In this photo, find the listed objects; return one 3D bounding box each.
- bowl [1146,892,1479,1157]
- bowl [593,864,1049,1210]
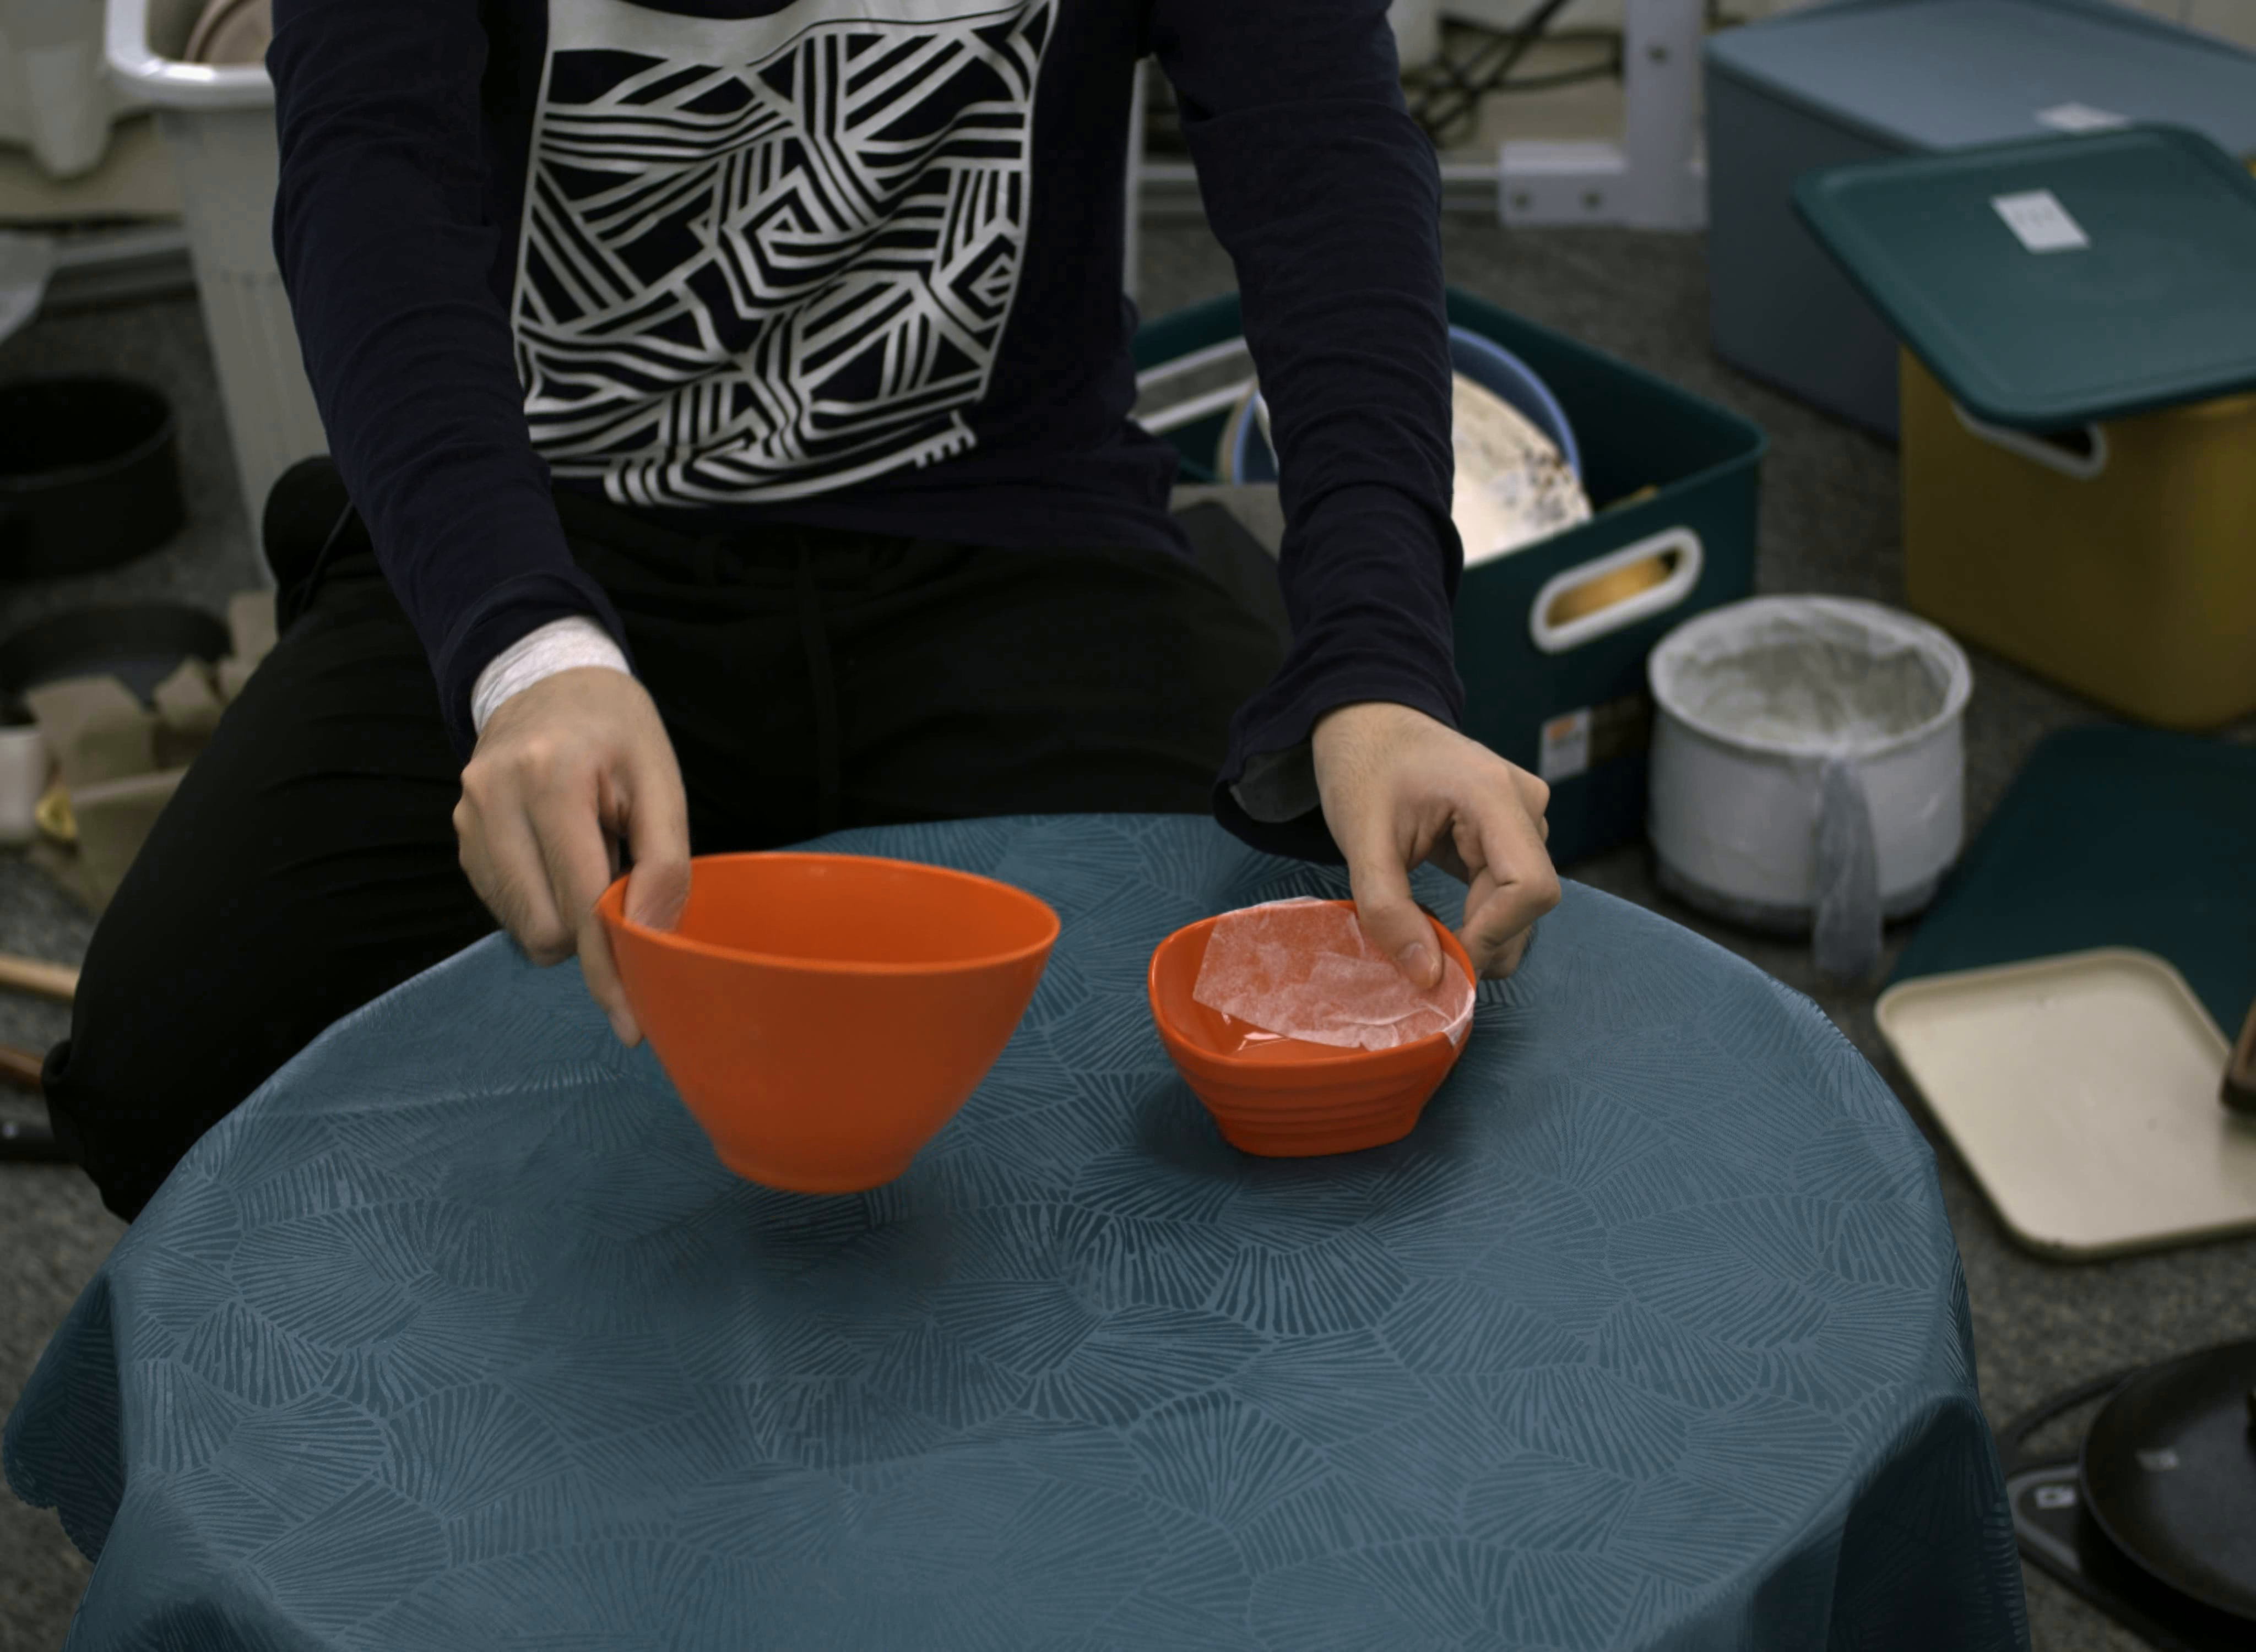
[{"bbox_3d":[0.063,0.071,1.895,0.118,0.051,0.121,-3,29,2],"label":"bowl"},{"bbox_3d":[-0.102,0.069,1.820,0.147,0.104,0.150,5,21,-1],"label":"bowl"}]
